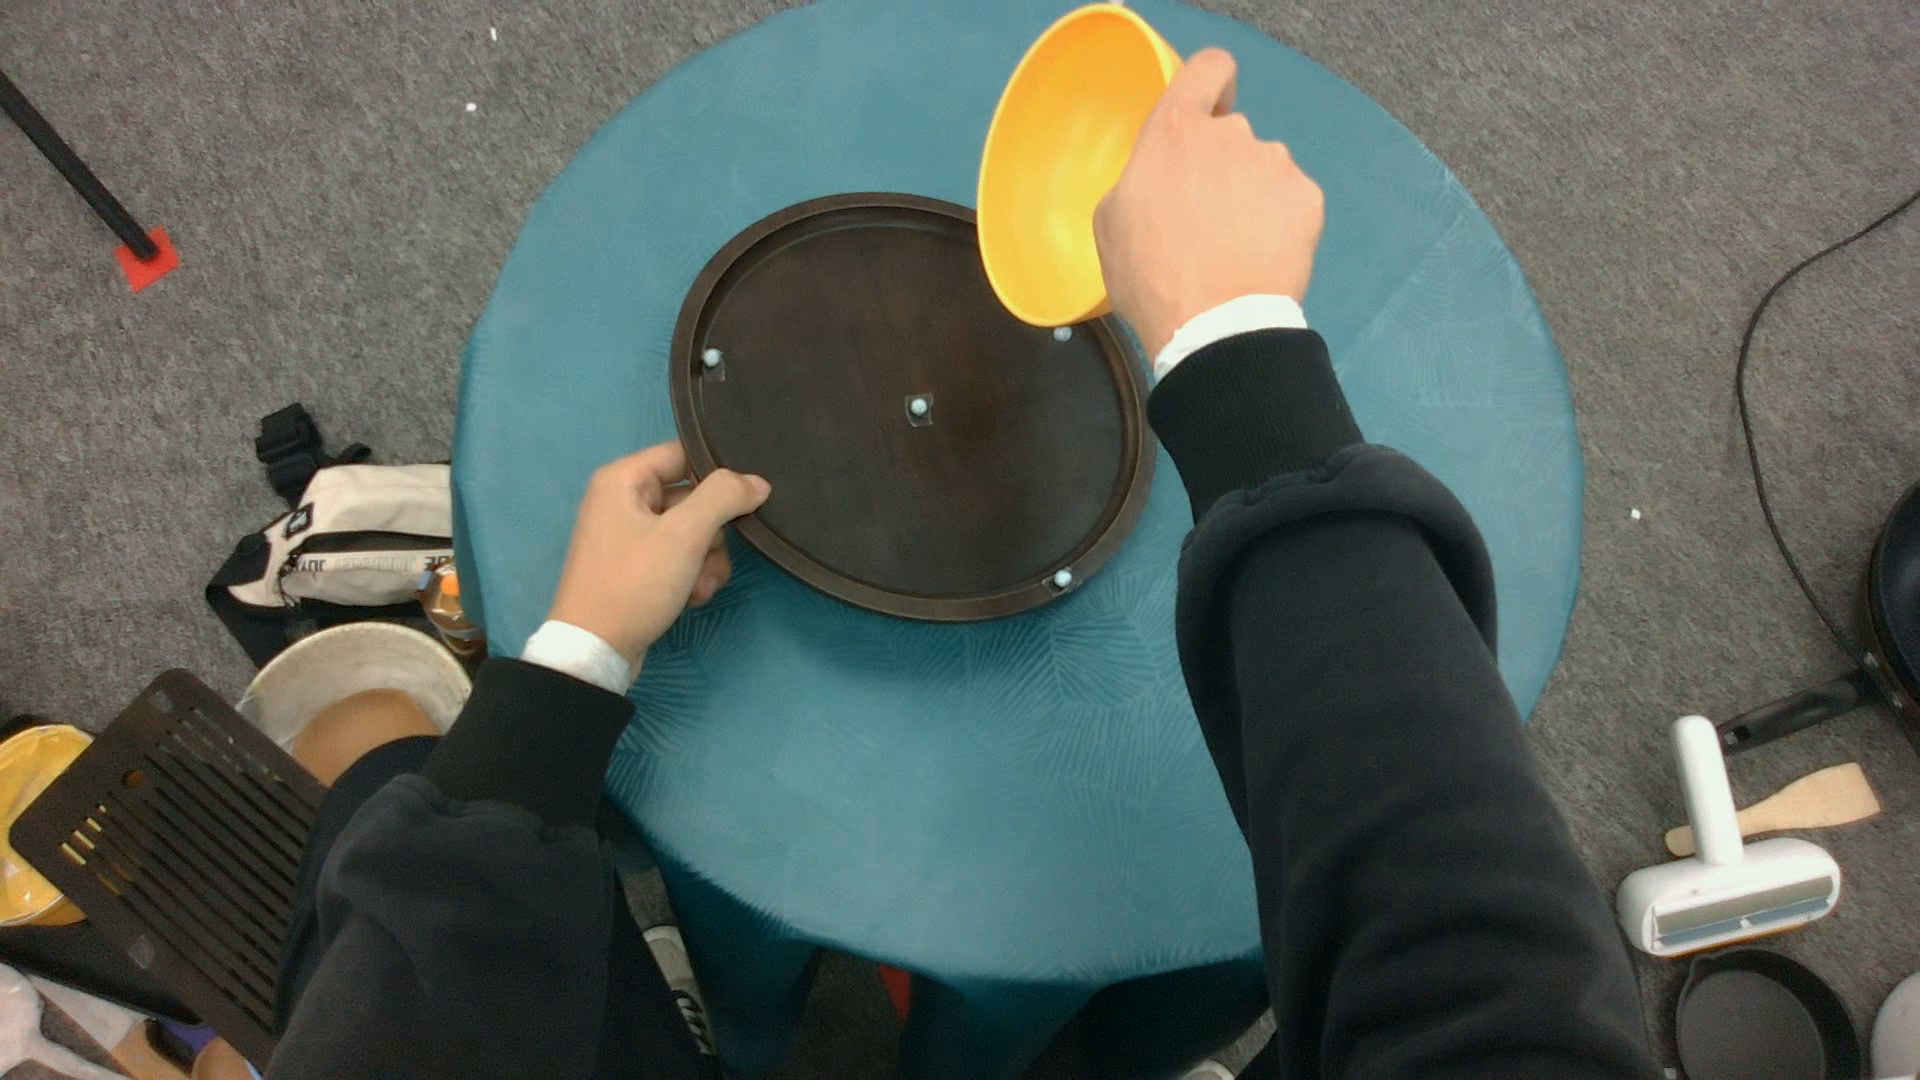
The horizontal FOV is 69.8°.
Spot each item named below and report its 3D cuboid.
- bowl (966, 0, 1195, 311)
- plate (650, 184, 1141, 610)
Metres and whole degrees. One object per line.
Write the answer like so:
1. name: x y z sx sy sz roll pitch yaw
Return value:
1. bowl: 0.067 -0.180 0.657 0.060 0.144 0.145 0 64 -35
2. plate: -0.029 -0.078 0.697 0.255 0.029 0.256 9 61 -16
